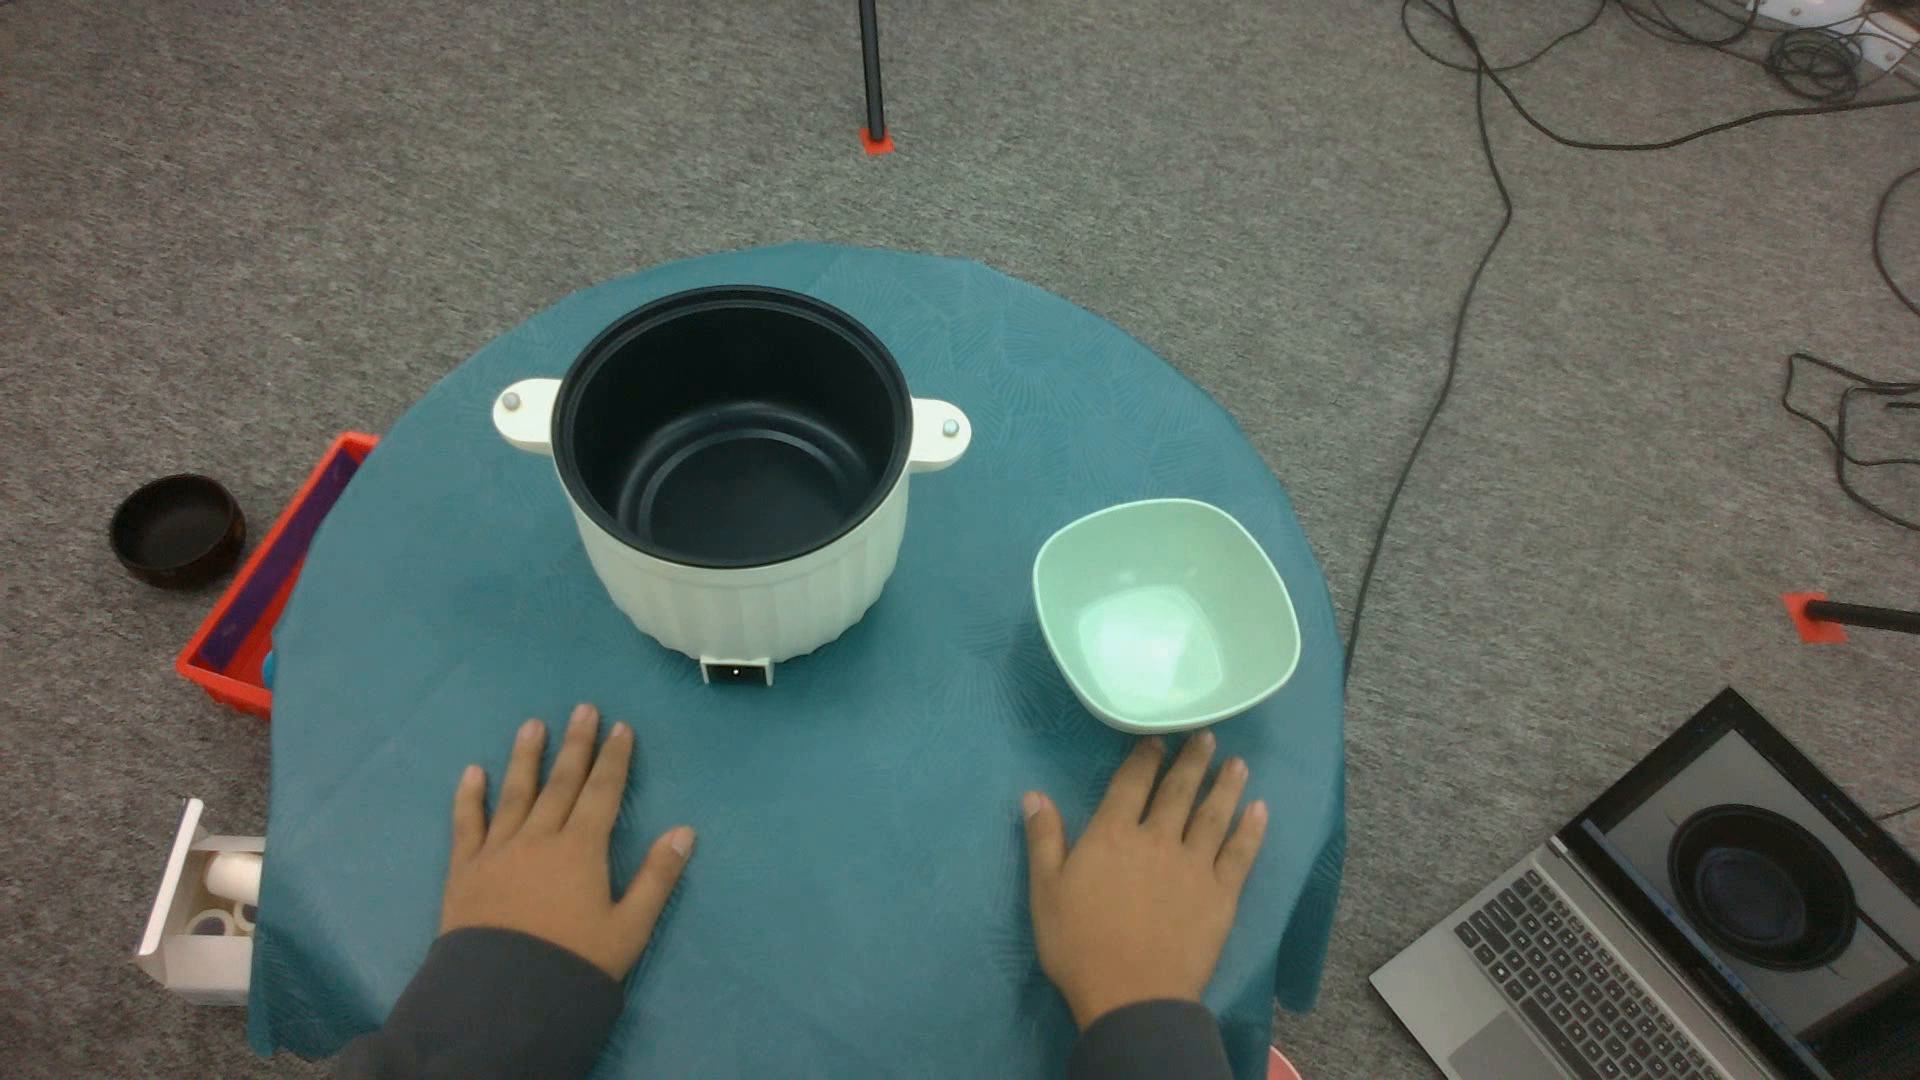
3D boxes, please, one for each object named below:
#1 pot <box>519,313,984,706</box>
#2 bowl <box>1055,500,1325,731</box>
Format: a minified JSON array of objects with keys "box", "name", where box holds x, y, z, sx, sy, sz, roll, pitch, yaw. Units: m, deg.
[{"box":[-0.110,-0.019,0.770,0.240,0.142,0.191,-1,59,-4],"name":"pot"},{"box":[0.125,0.051,0.777,0.151,0.058,0.152,0,54,-1],"name":"bowl"}]
